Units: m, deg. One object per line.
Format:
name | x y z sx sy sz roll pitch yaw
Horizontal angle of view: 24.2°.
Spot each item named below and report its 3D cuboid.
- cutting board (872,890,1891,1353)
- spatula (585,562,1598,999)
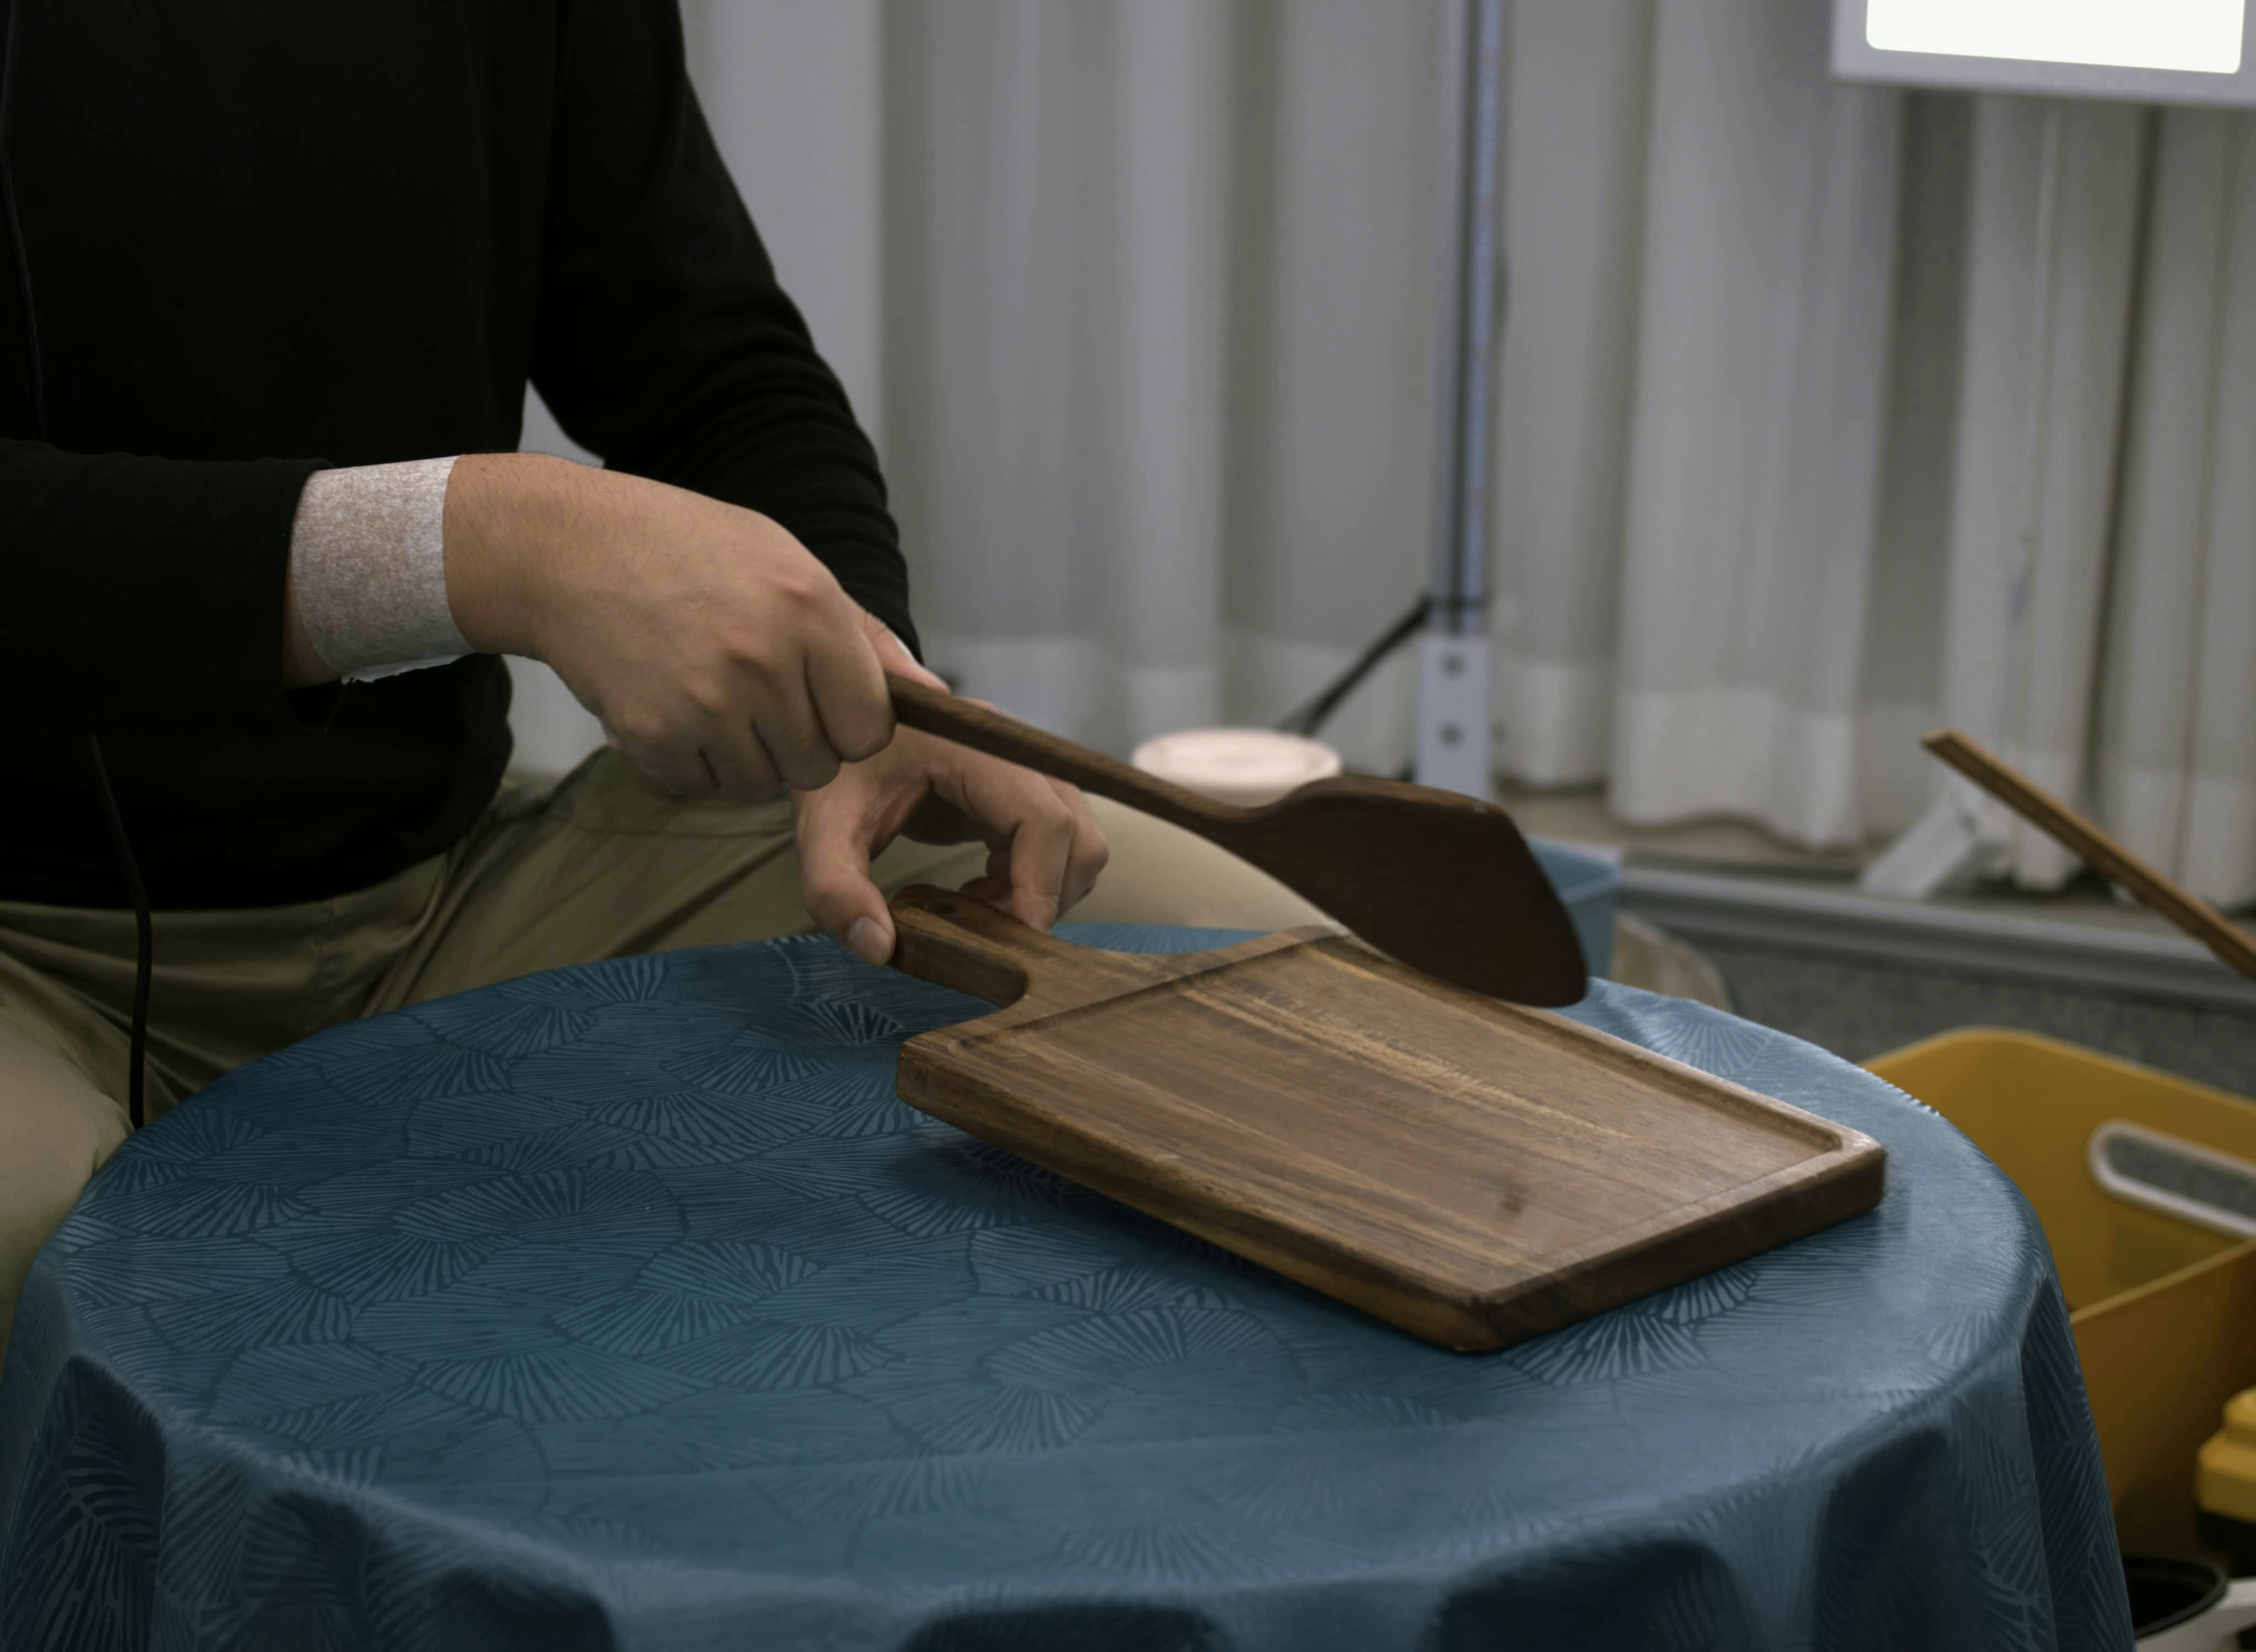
cutting board | 0.046 0.078 1.658 0.347 0.023 0.202 21 25 40
spatula | -0.022 -0.025 1.582 0.381 0.097 0.016 20 62 34
